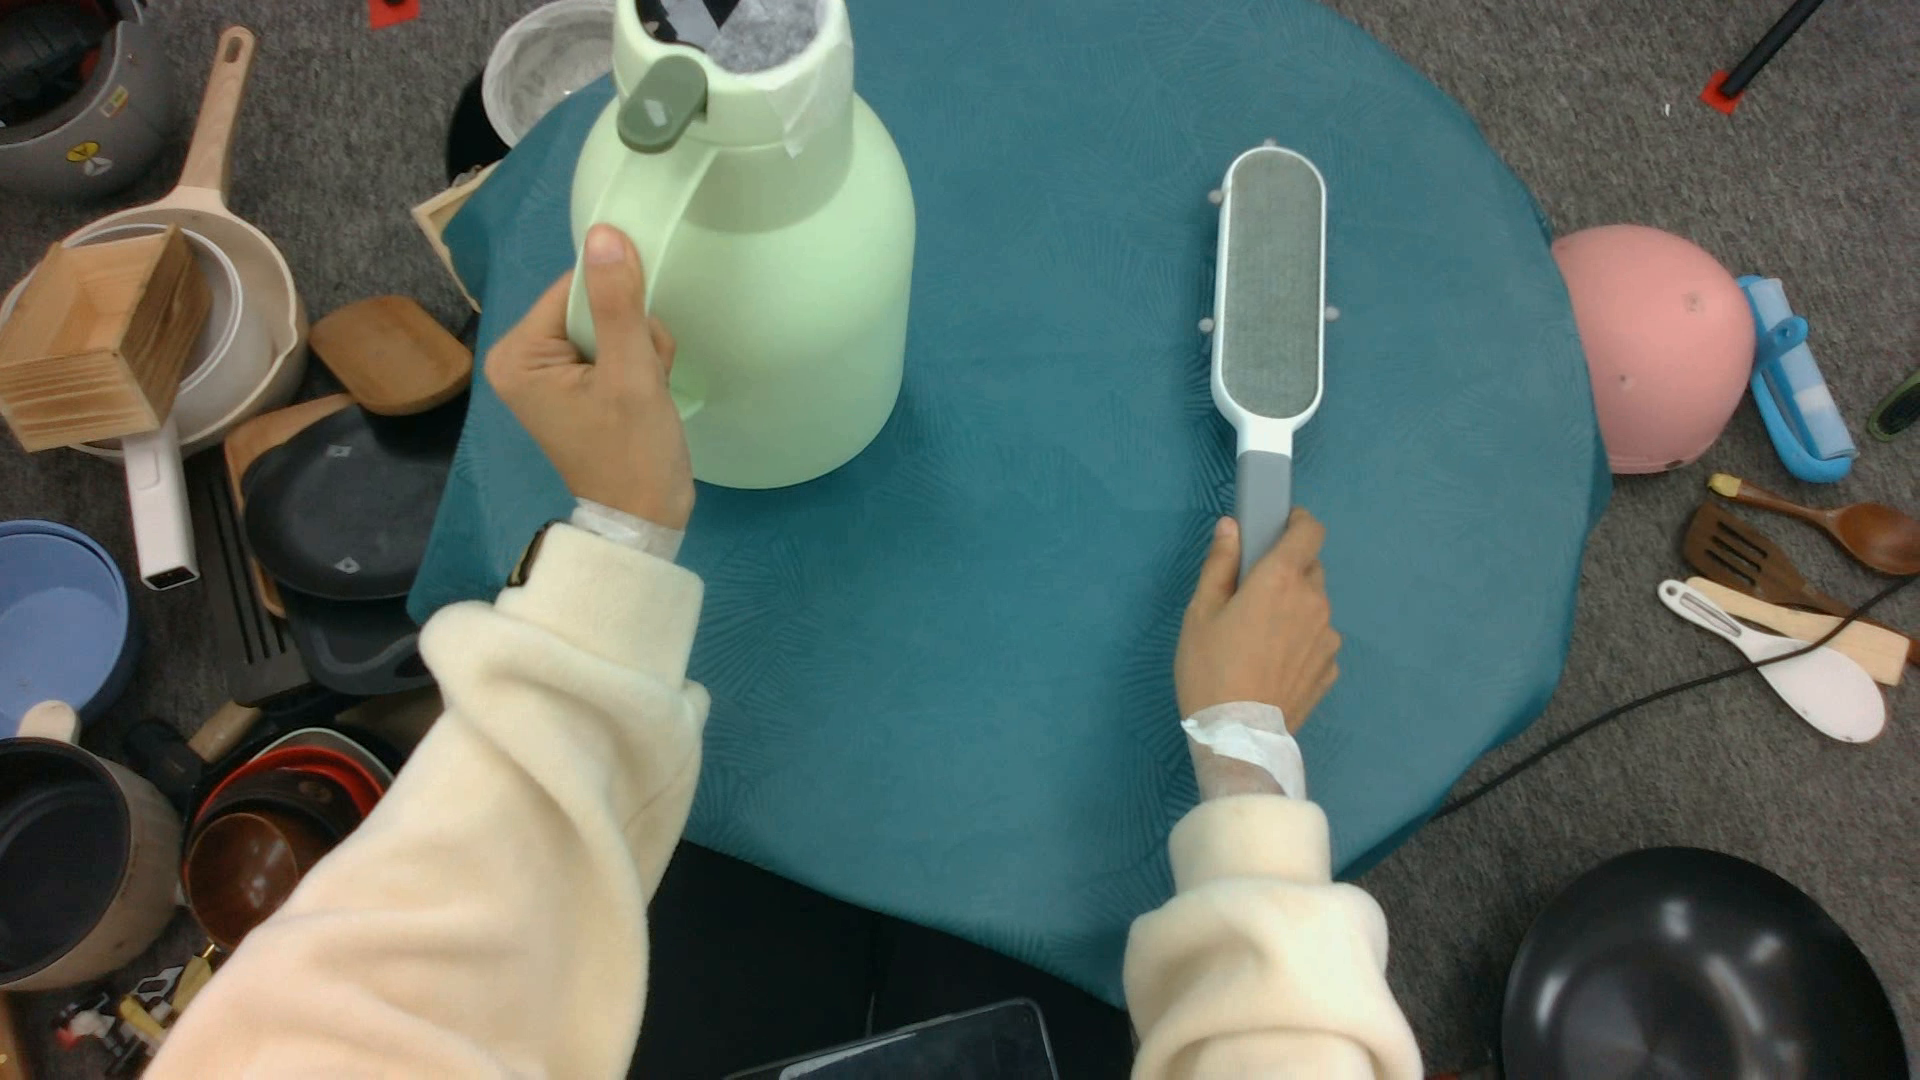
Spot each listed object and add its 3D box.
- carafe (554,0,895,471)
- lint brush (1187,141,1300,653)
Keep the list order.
[{"bbox_3d":[-0.104,-0.127,0.576,0.144,0.256,0.187,25,70,1],"label":"carafe"},{"bbox_3d":[0.146,-0.086,0.712,0.060,0.021,0.310,9,63,-4],"label":"lint brush"}]
